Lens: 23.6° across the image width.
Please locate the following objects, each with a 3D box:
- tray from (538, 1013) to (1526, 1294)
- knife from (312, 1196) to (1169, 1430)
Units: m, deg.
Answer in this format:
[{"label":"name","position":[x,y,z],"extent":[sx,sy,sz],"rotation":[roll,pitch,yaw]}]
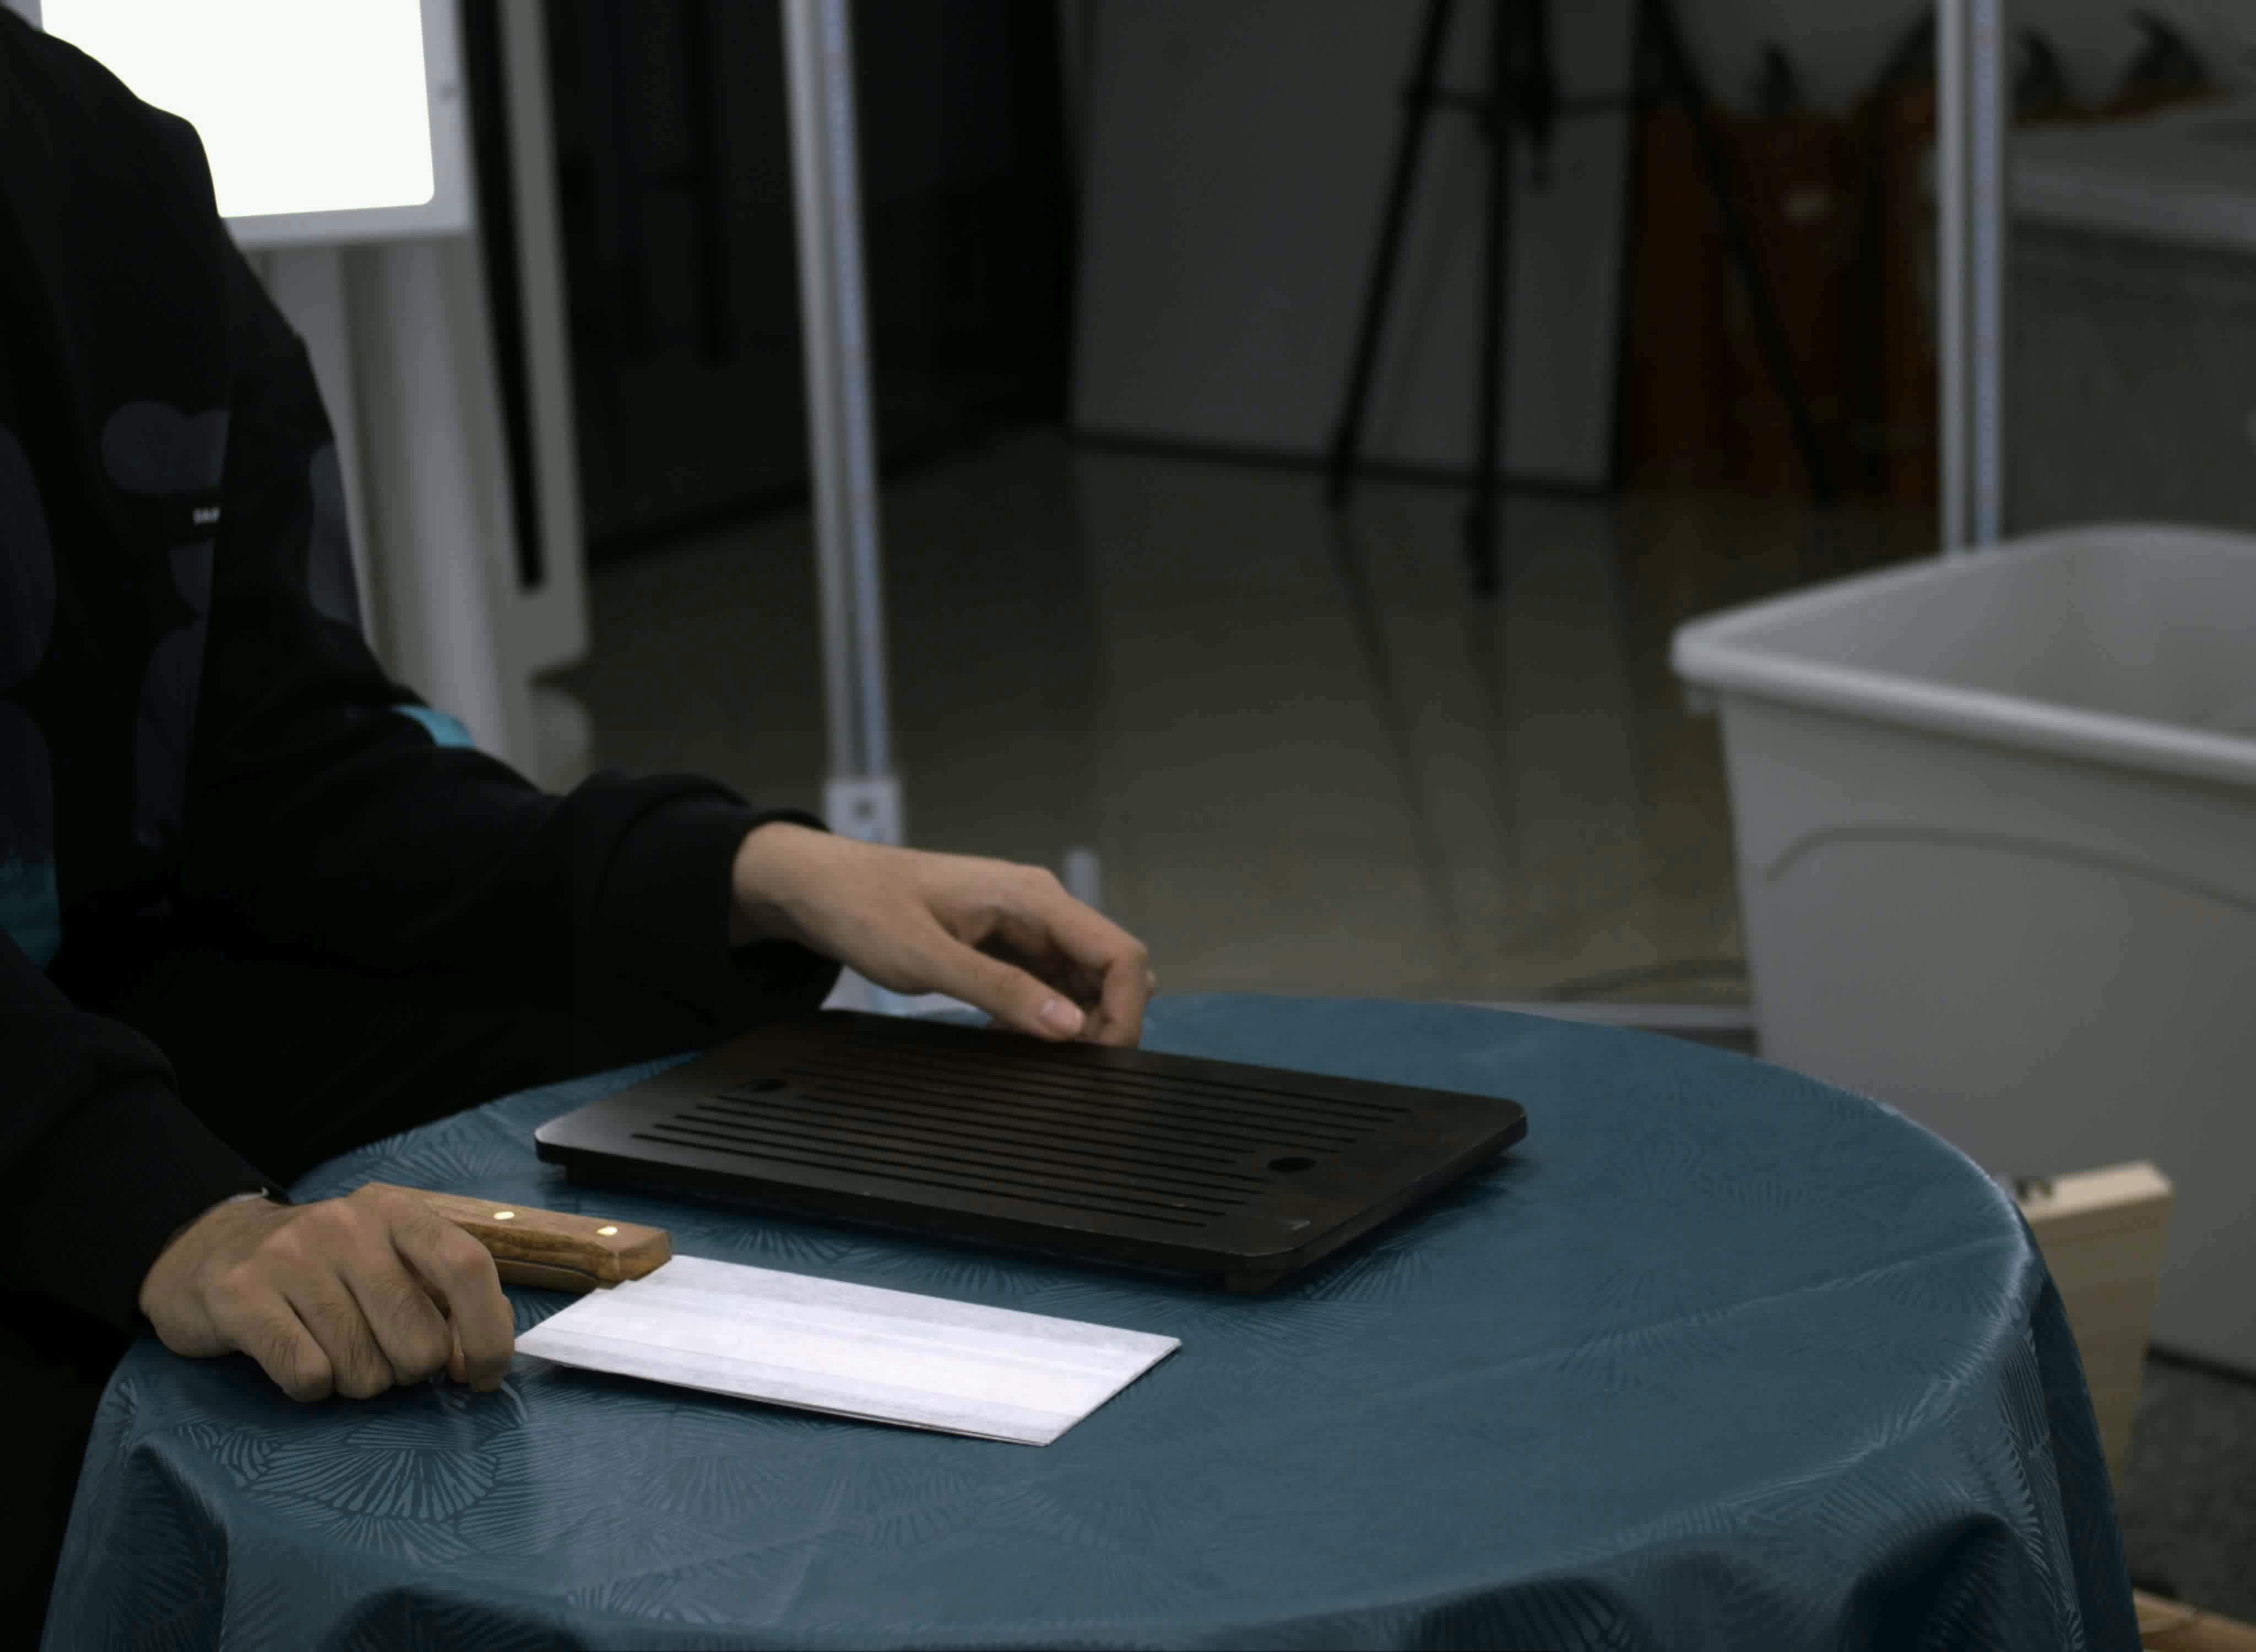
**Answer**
[{"label":"tray","position":[-0.033,0.107,1.801],"extent":[0.308,0.019,0.167],"rotation":[6,17,35]},{"label":"knife","position":[-0.135,0.152,1.656],"extent":[0.307,0.021,0.091],"rotation":[6,19,29]}]
